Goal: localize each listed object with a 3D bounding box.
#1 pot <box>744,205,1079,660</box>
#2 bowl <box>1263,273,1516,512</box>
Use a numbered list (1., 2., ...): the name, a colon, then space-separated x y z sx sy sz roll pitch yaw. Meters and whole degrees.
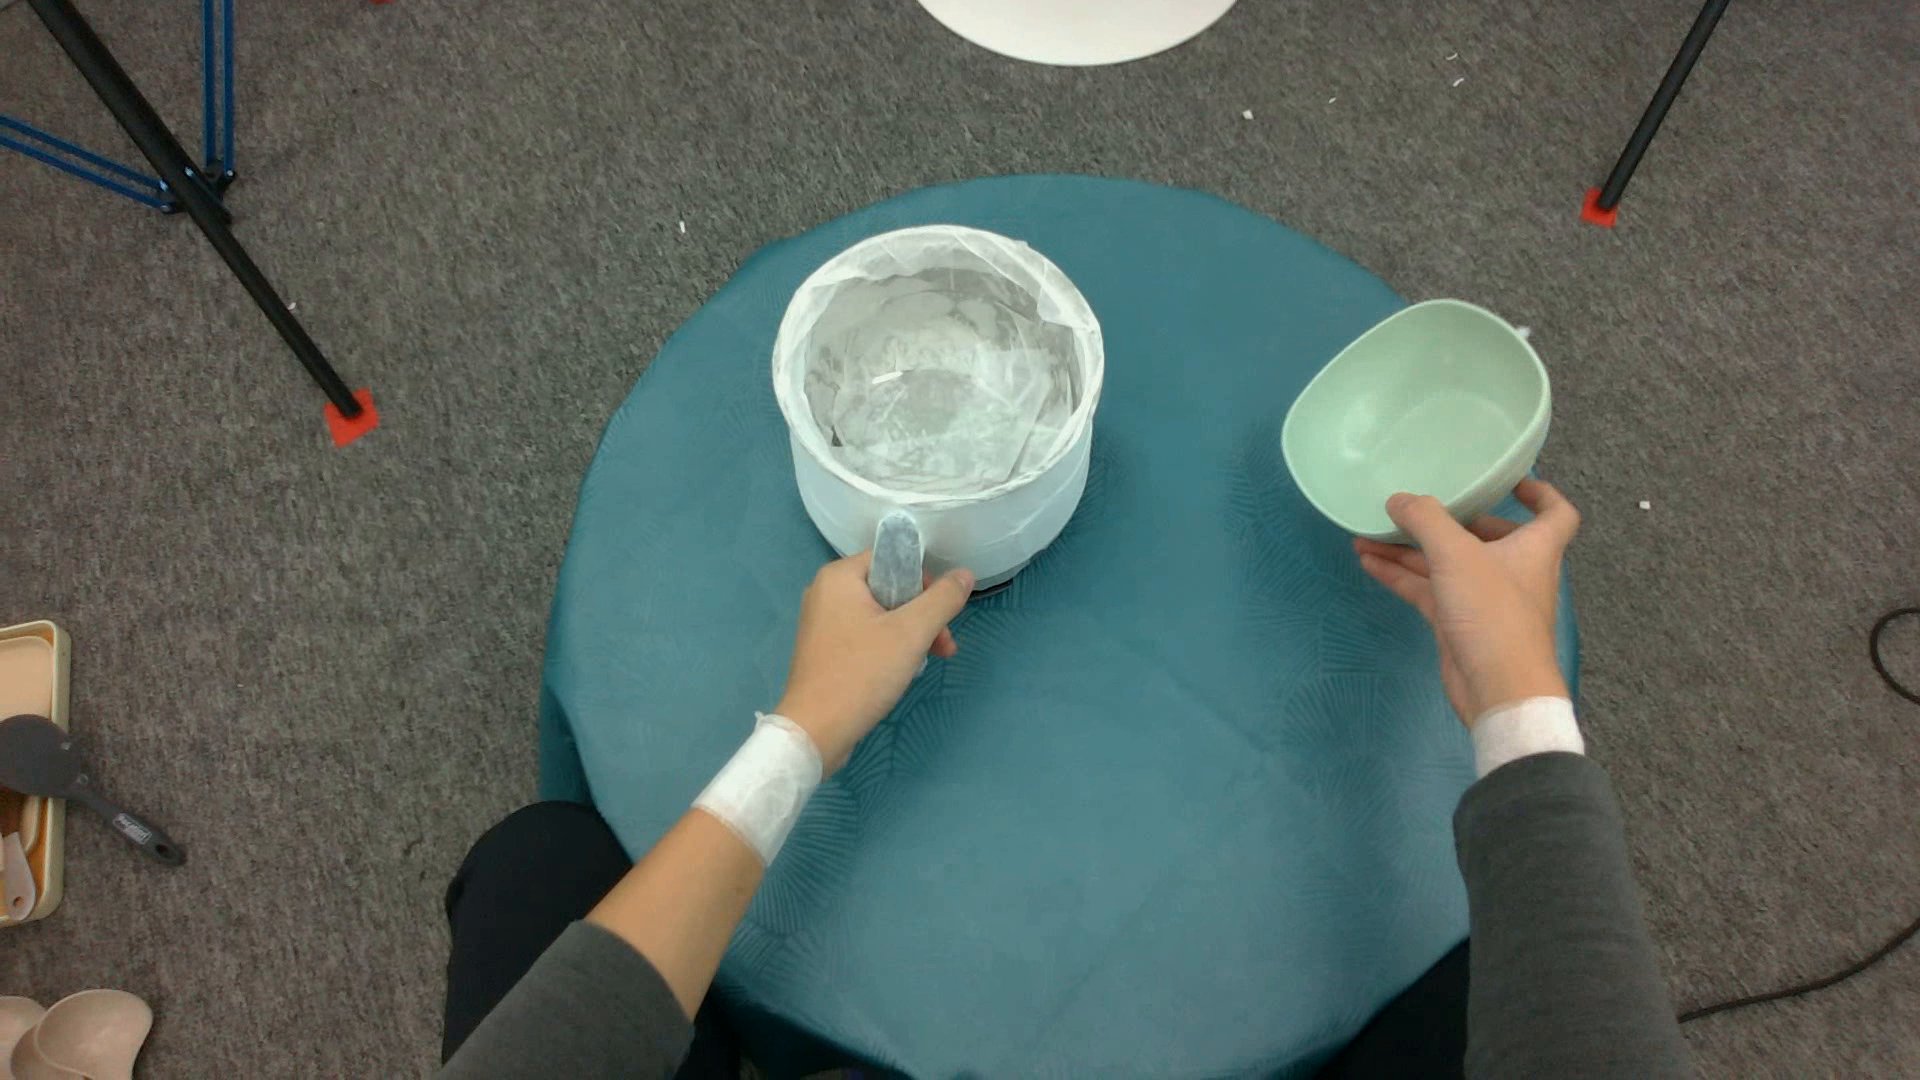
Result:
1. pot: -0.030 -0.055 0.772 0.178 0.136 0.234 9 65 4
2. bowl: 0.246 -0.072 0.764 0.058 0.151 0.152 38 62 -32
